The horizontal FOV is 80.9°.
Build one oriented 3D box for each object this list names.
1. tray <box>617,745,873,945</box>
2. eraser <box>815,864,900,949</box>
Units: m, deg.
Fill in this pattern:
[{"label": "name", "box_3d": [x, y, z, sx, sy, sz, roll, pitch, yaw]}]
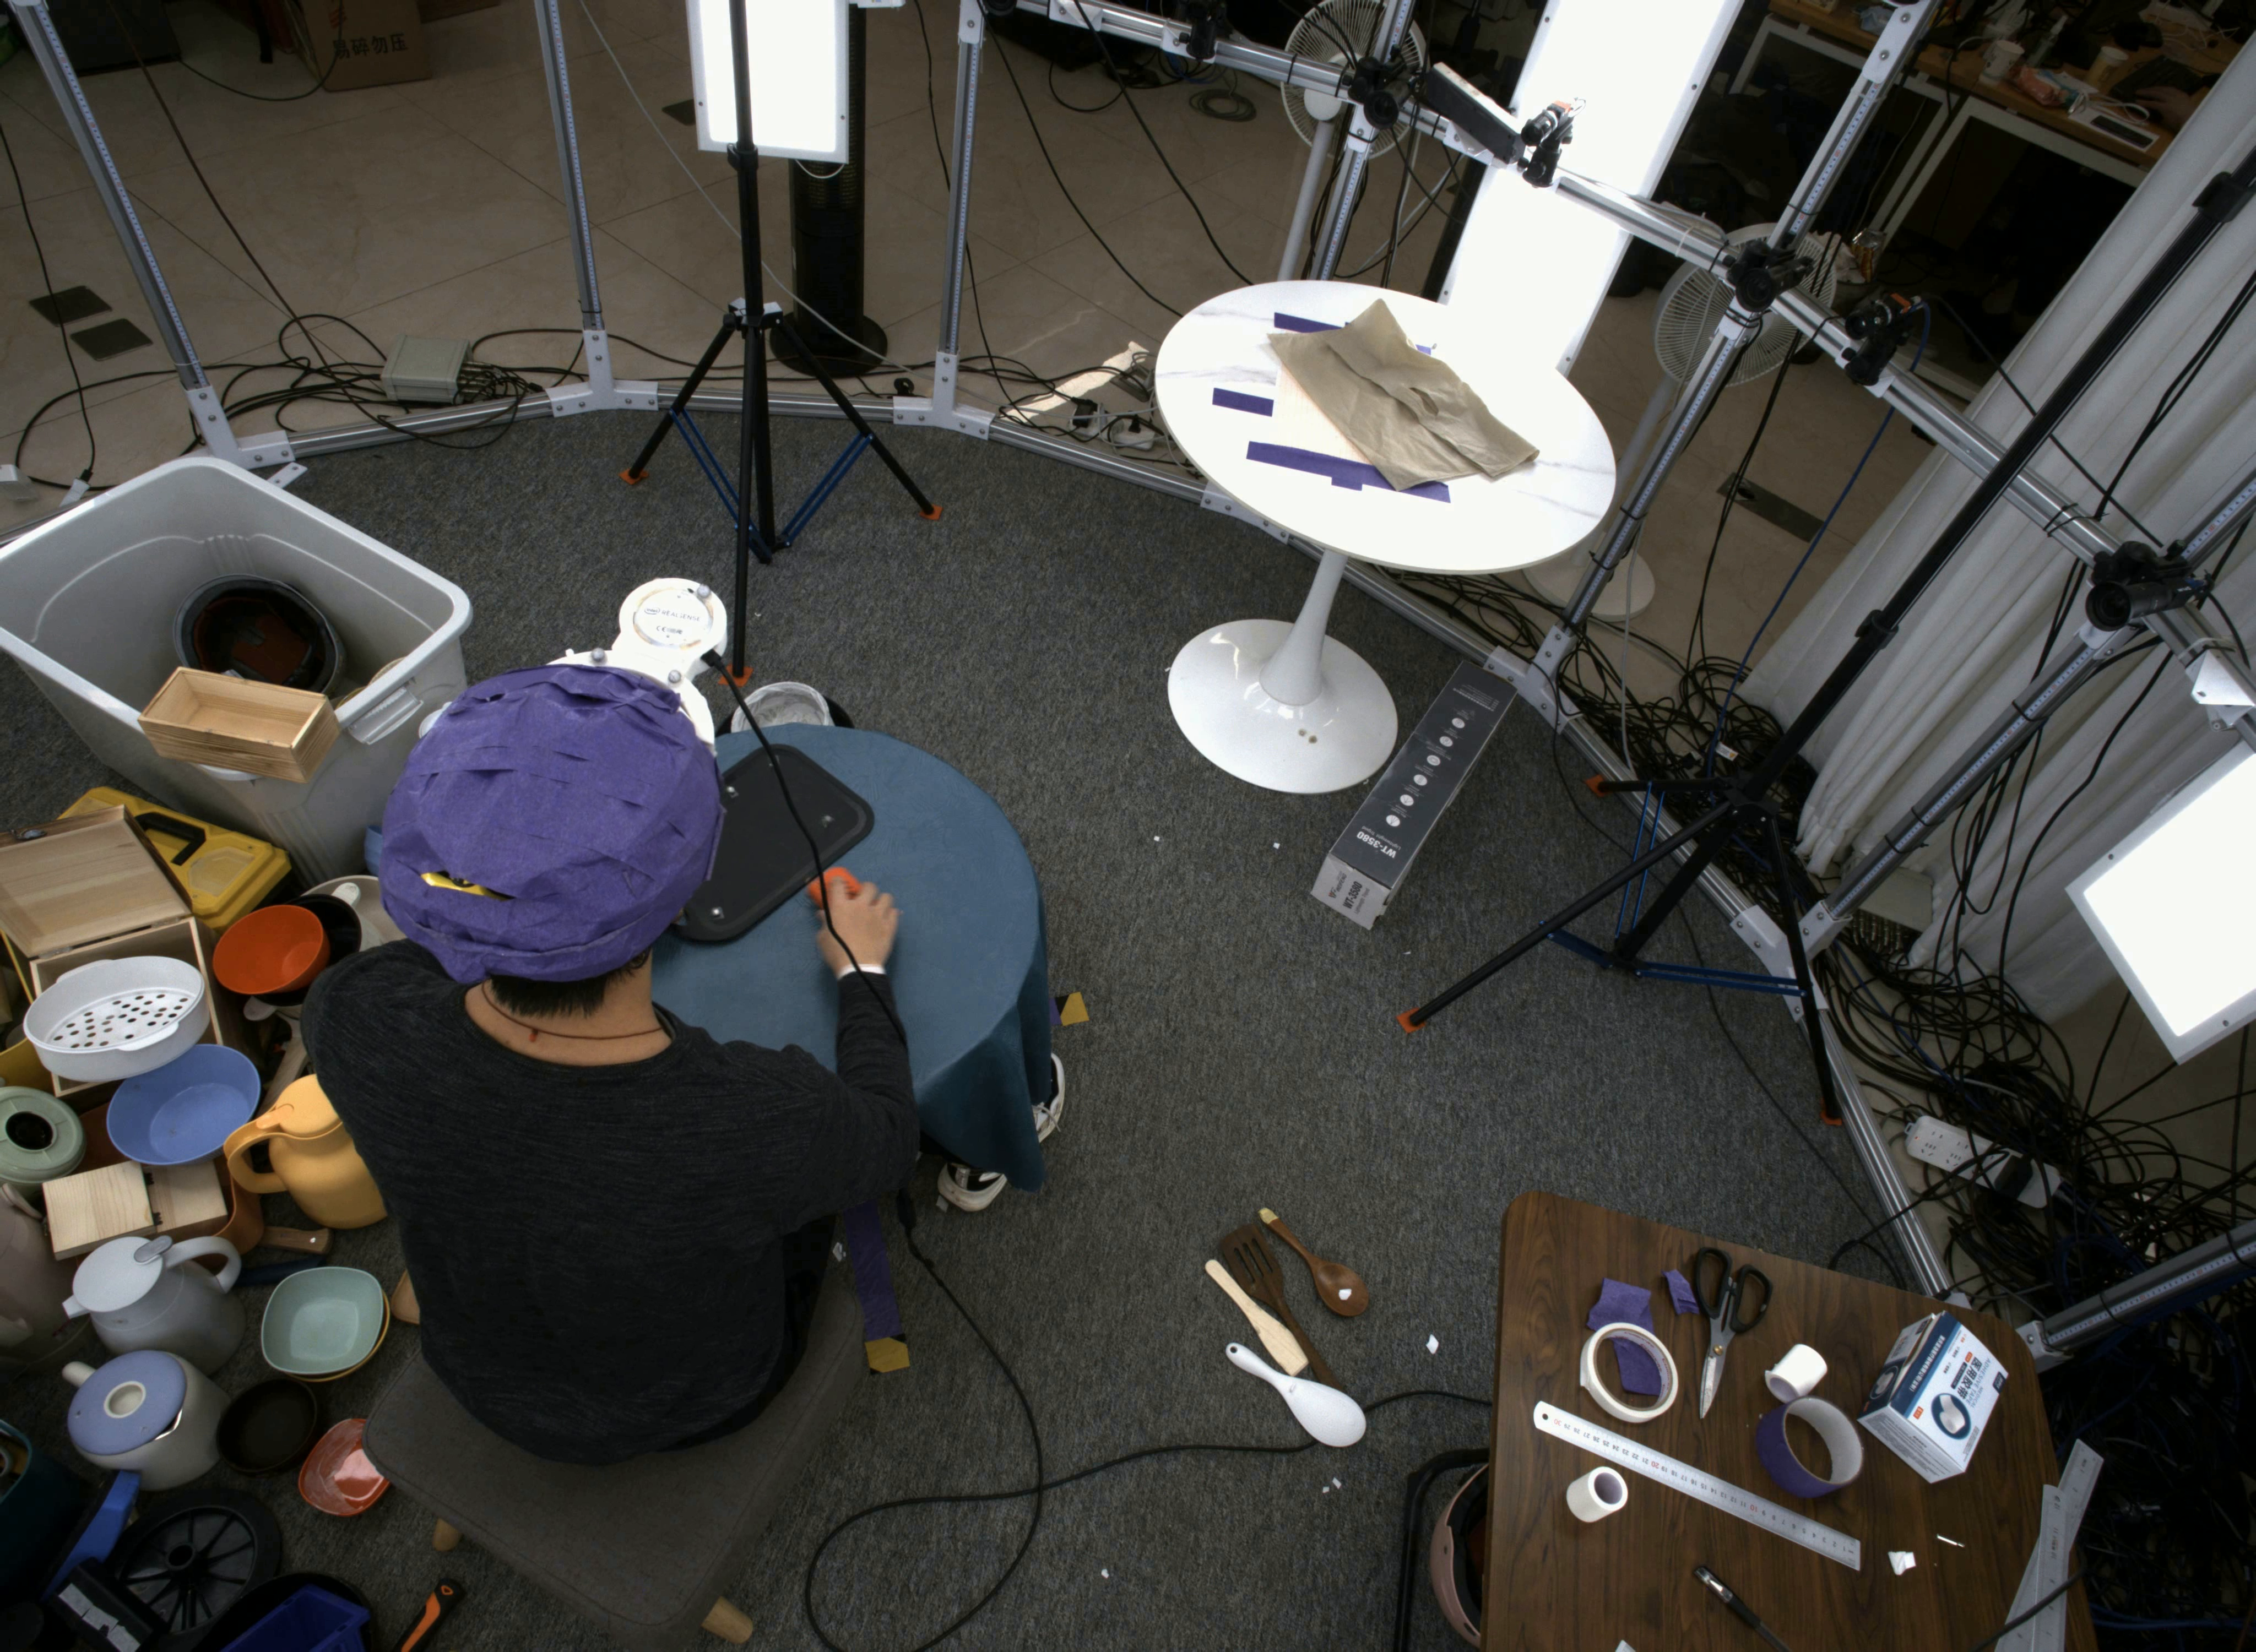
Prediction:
[{"label": "tray", "box_3d": [-0.500, 0.020, 1.678, 0.207, 0.010, 0.325, 37, 53, 14]}, {"label": "eraser", "box_3d": [-0.342, 0.098, 1.637, 0.106, 0.023, 0.059, 46, 51, 10]}]
